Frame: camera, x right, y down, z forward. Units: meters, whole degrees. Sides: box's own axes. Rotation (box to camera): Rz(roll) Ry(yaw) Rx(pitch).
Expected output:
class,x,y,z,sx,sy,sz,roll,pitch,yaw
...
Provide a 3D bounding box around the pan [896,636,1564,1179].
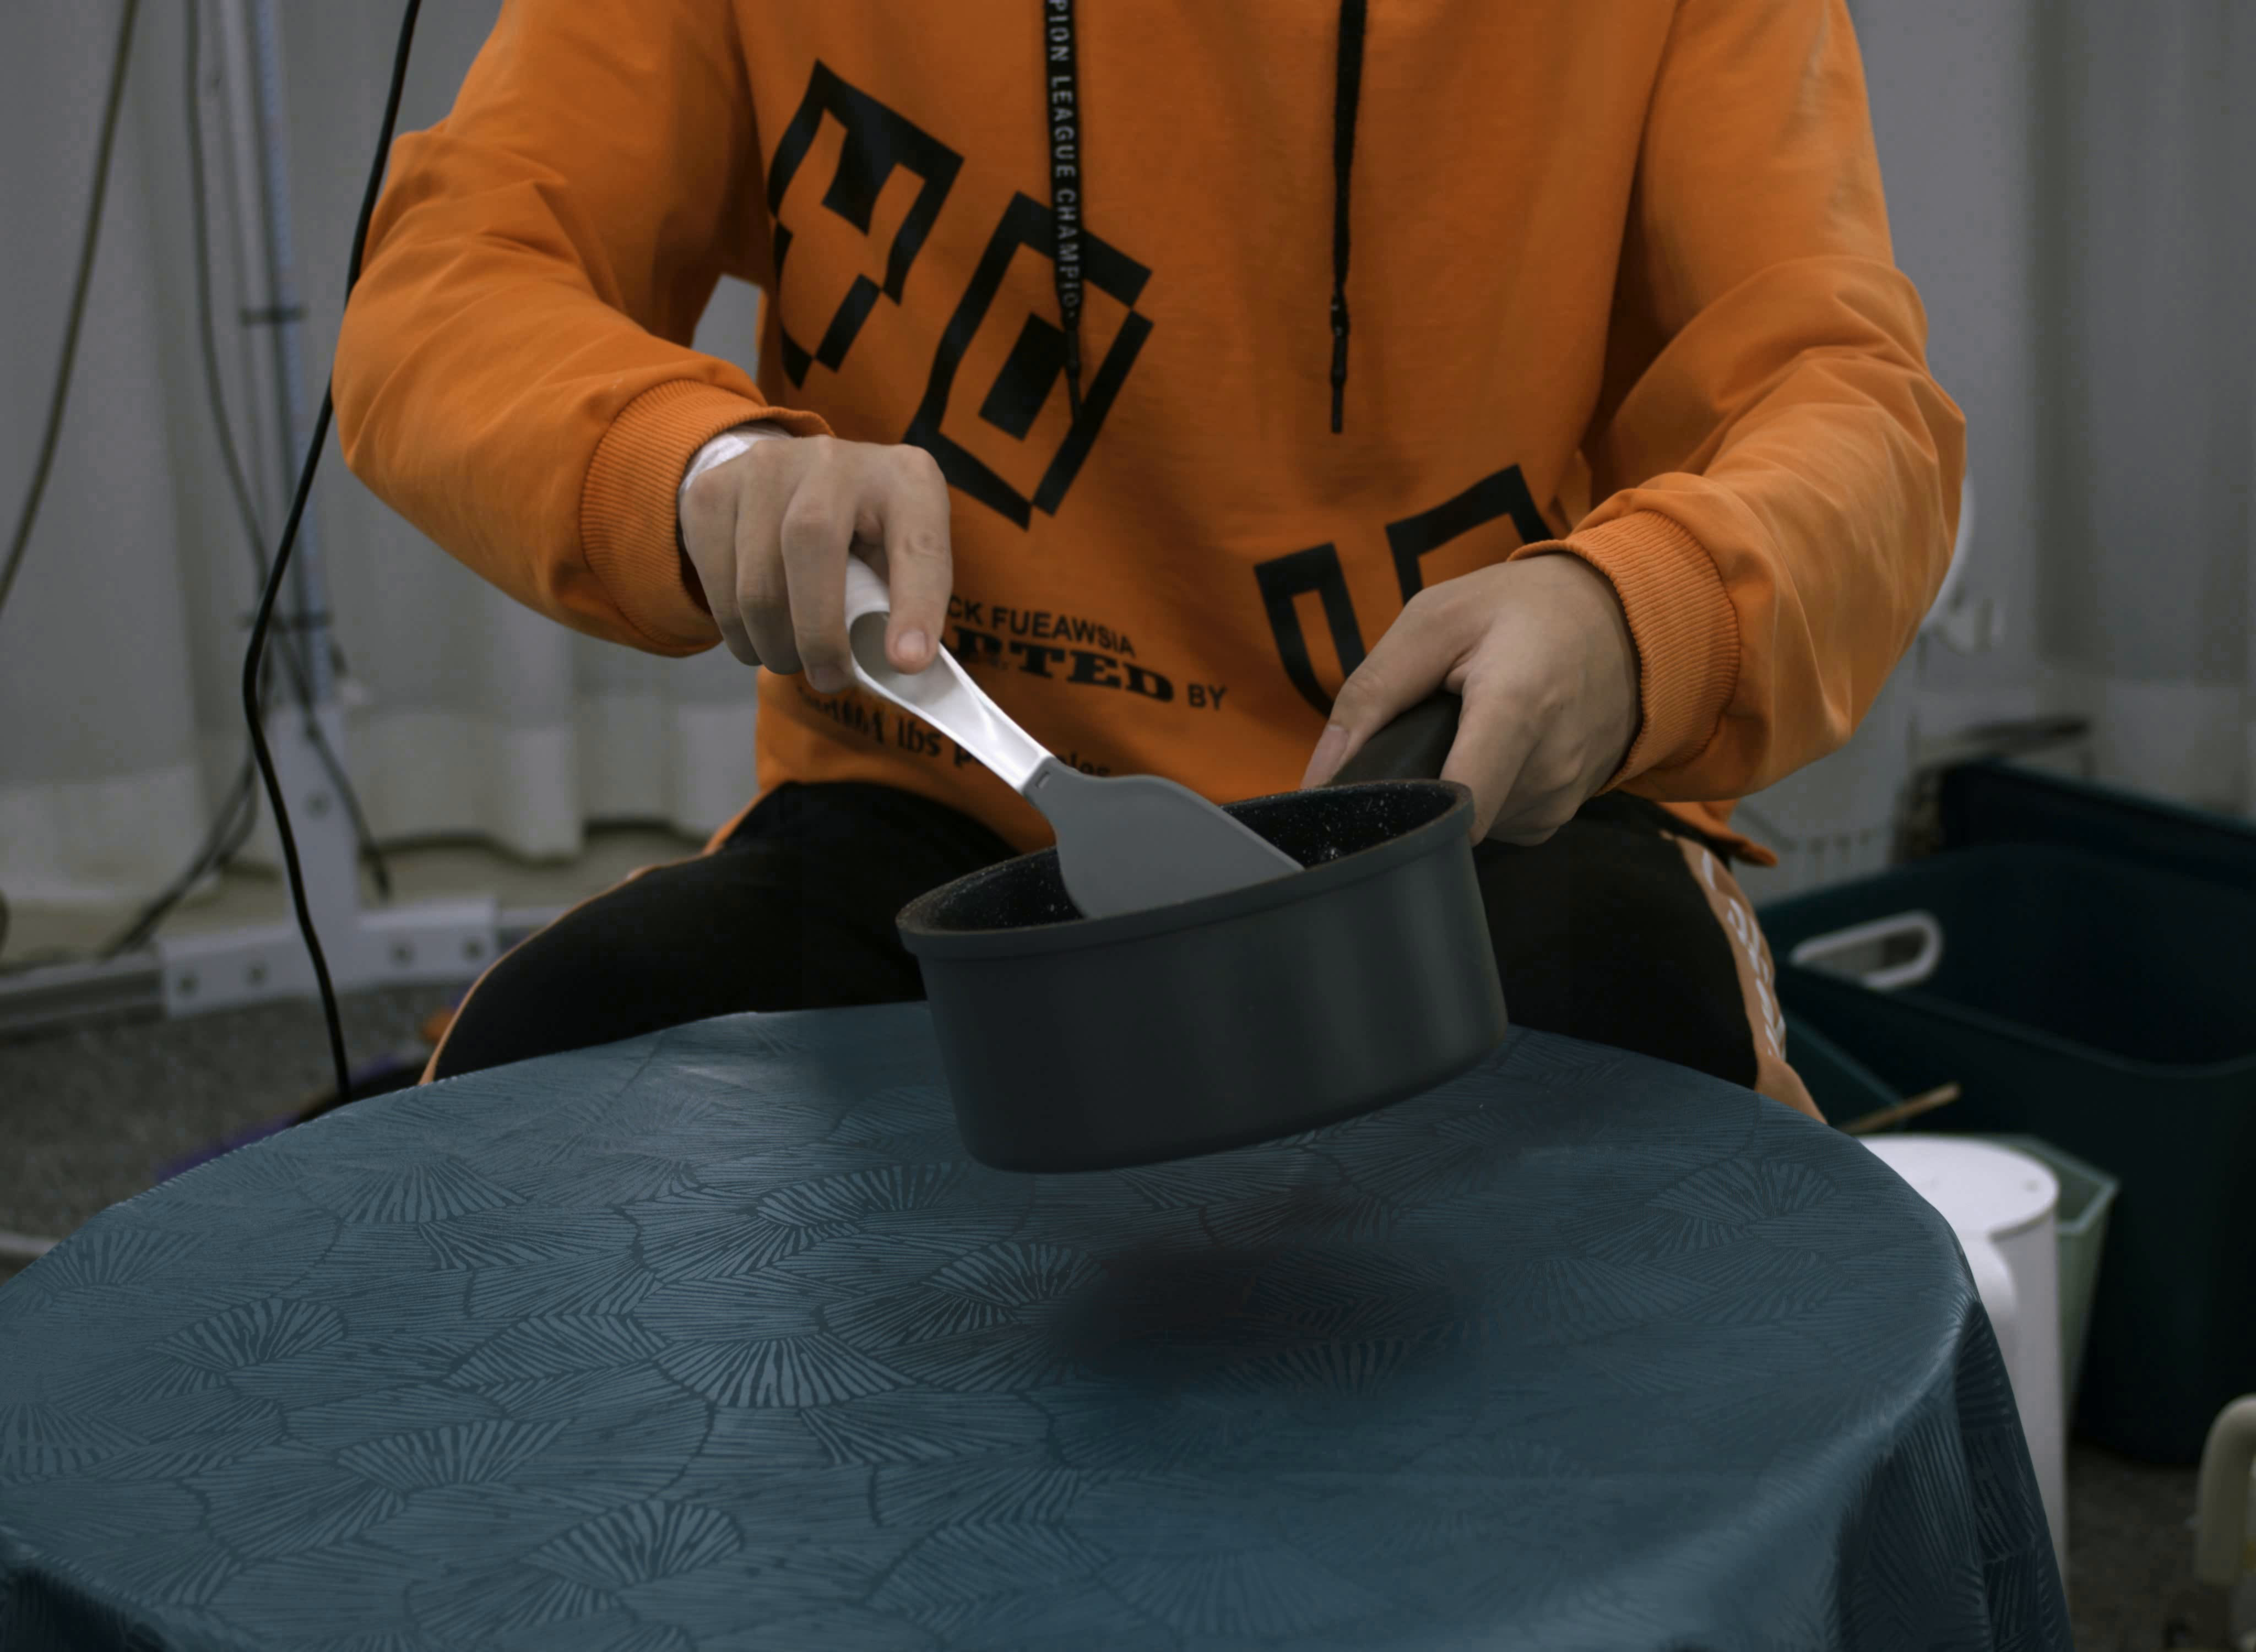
class,x,y,z,sx,sy,sz,roll,pitch,yaw
pan,0.059,0.022,1.651,0.172,0.086,0.329,-7,11,29

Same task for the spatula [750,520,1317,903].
class,x,y,z,sx,sy,sz,roll,pitch,yaw
spatula,-0.035,-0.026,1.665,0.032,0.059,0.291,41,-2,-40
